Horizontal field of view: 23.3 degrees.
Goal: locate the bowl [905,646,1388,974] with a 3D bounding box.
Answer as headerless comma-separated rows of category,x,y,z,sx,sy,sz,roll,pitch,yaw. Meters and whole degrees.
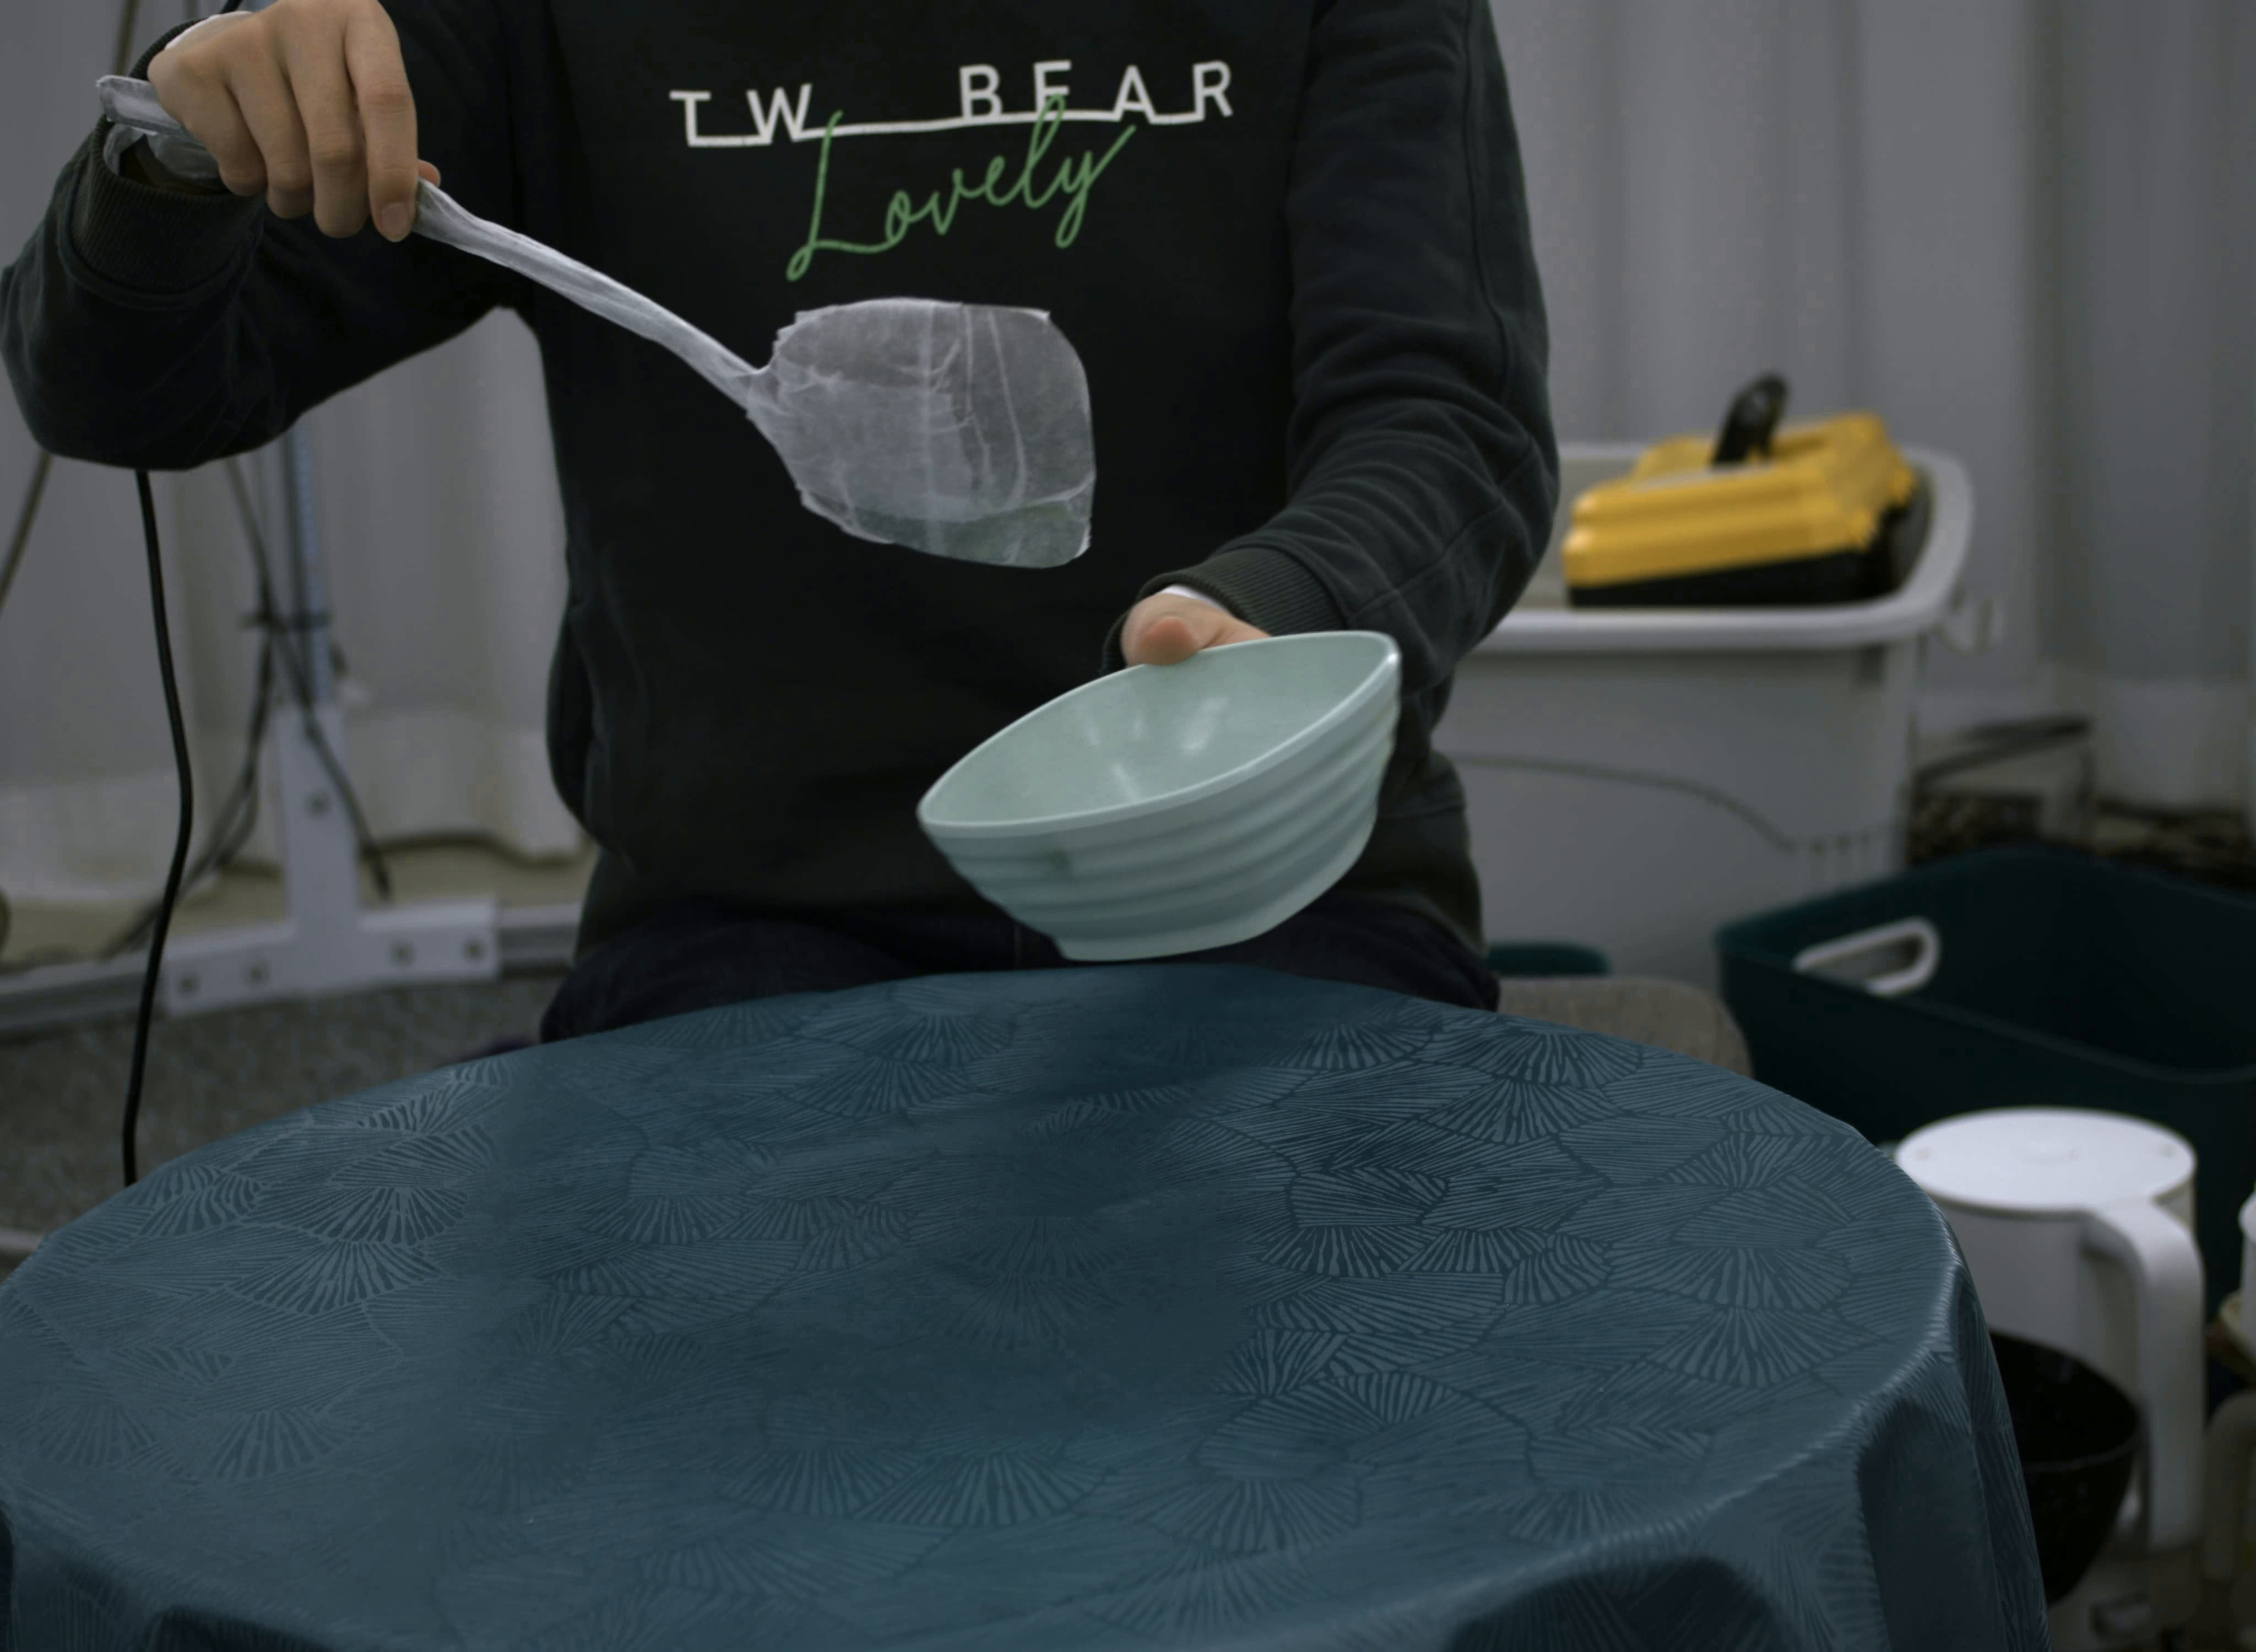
bowl,0.013,0.000,1.631,0.151,0.058,0.152,-16,17,5

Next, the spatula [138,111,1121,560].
spatula,-0.160,-0.166,1.673,0.367,0.097,0.045,26,51,29
